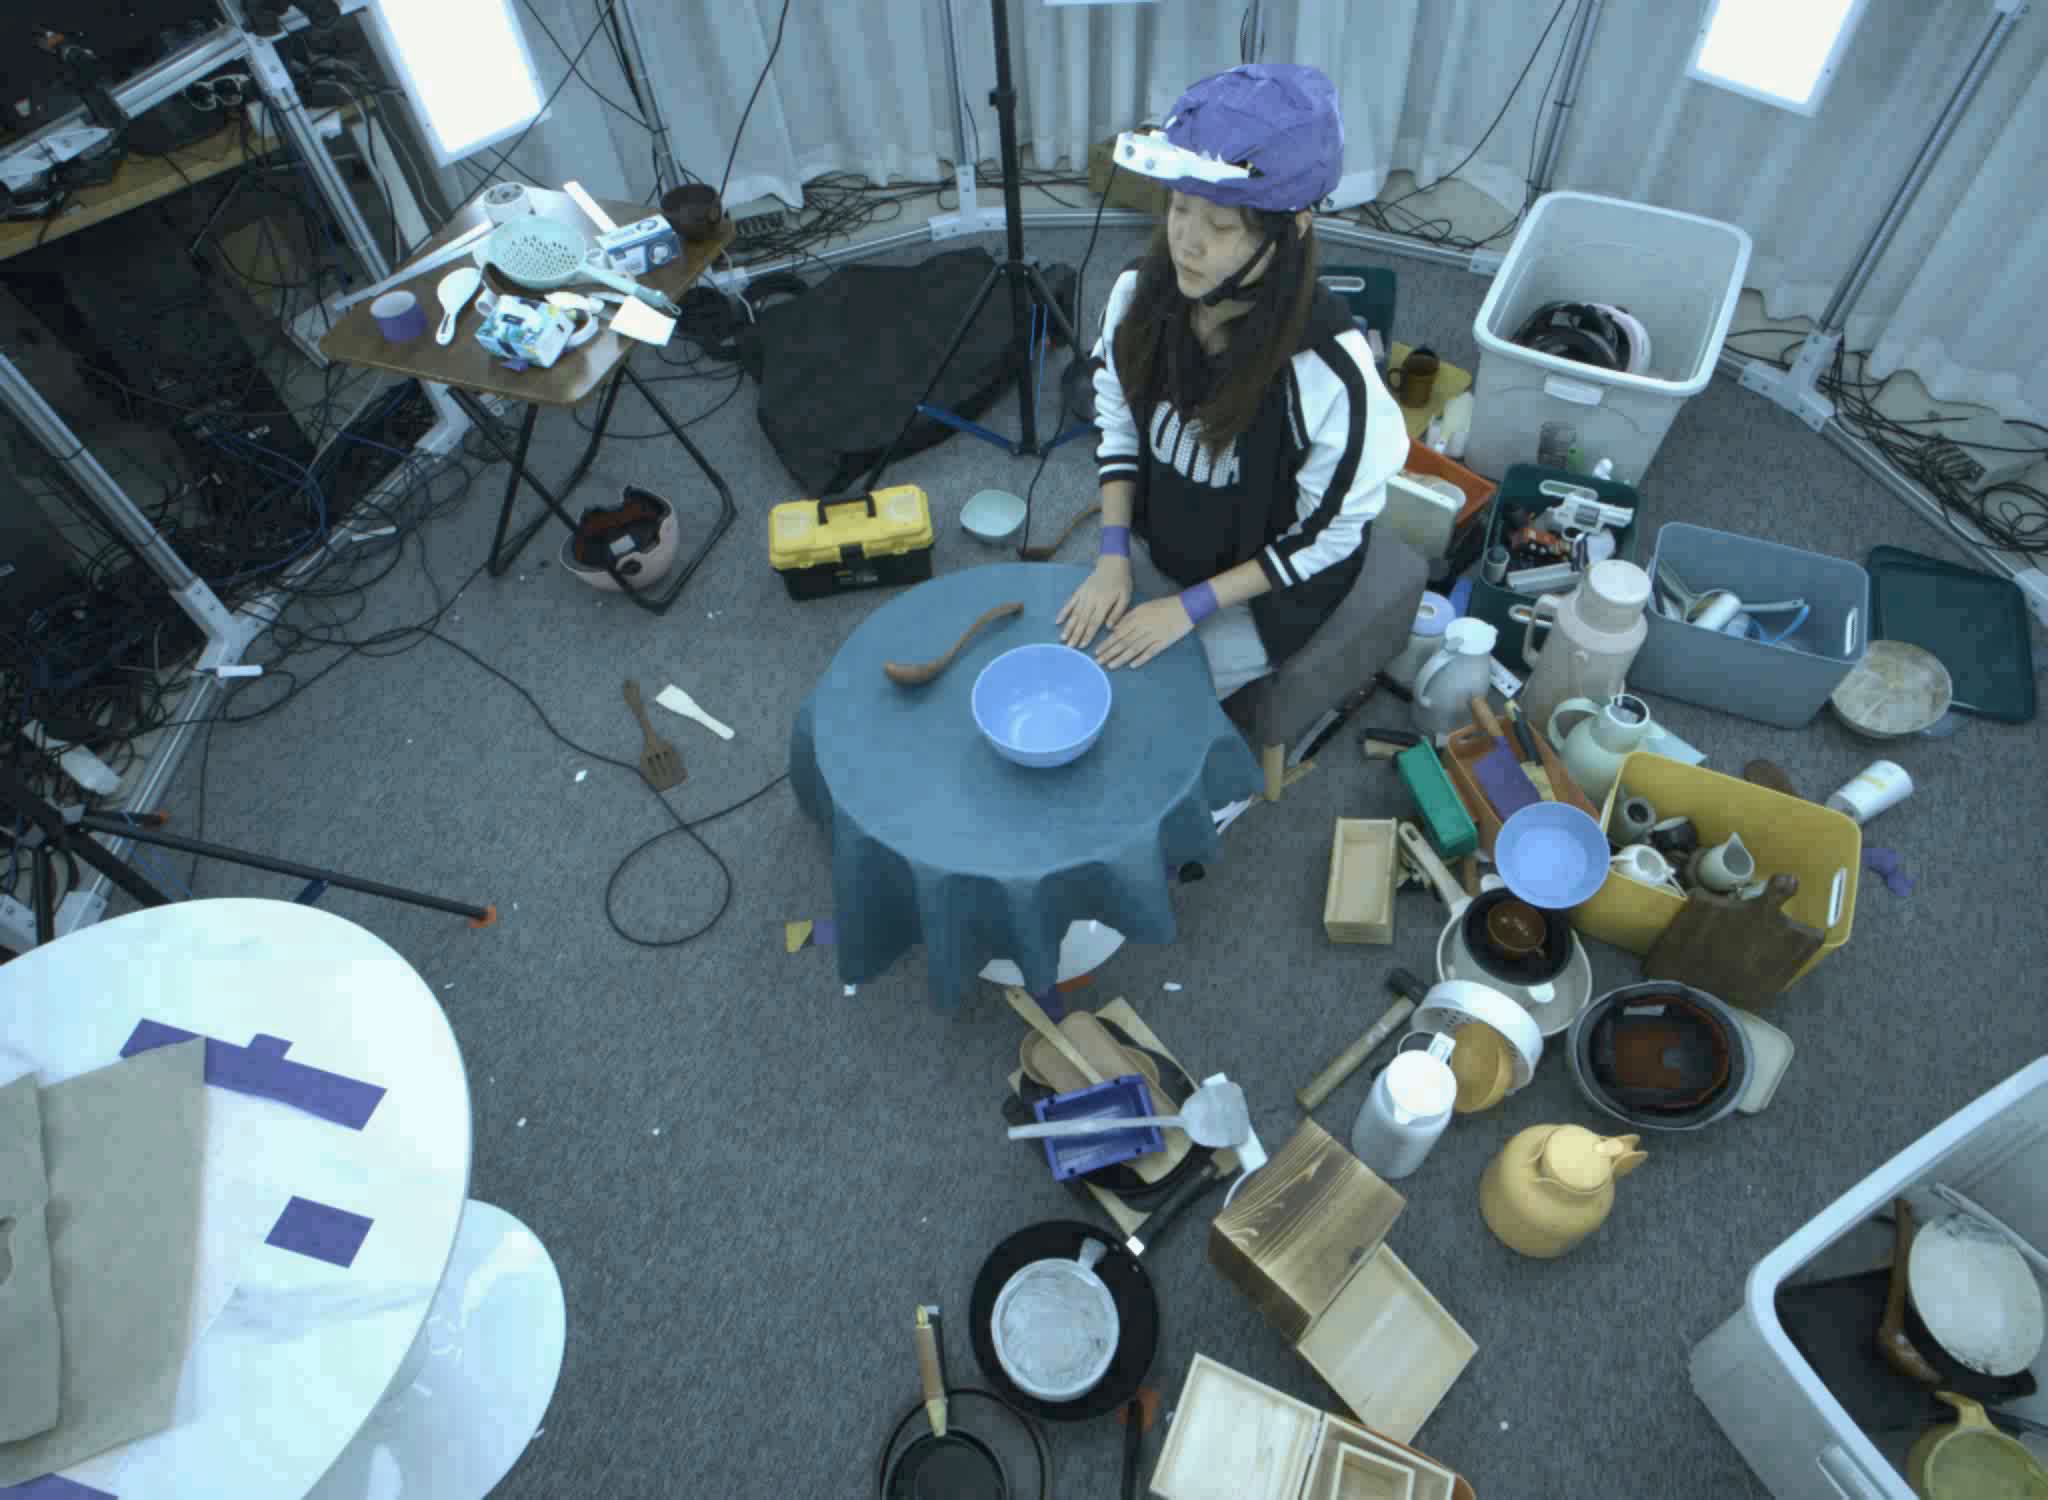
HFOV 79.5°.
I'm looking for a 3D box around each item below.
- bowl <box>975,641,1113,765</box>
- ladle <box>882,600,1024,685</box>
[{"bbox_3d":[0.034,-0.051,1.765,0.195,0.097,0.194,-4,54,7],"label":"bowl"},{"bbox_3d":[-0.106,-0.177,1.880,0.262,0.066,0.075,-40,34,-23],"label":"ladle"}]
